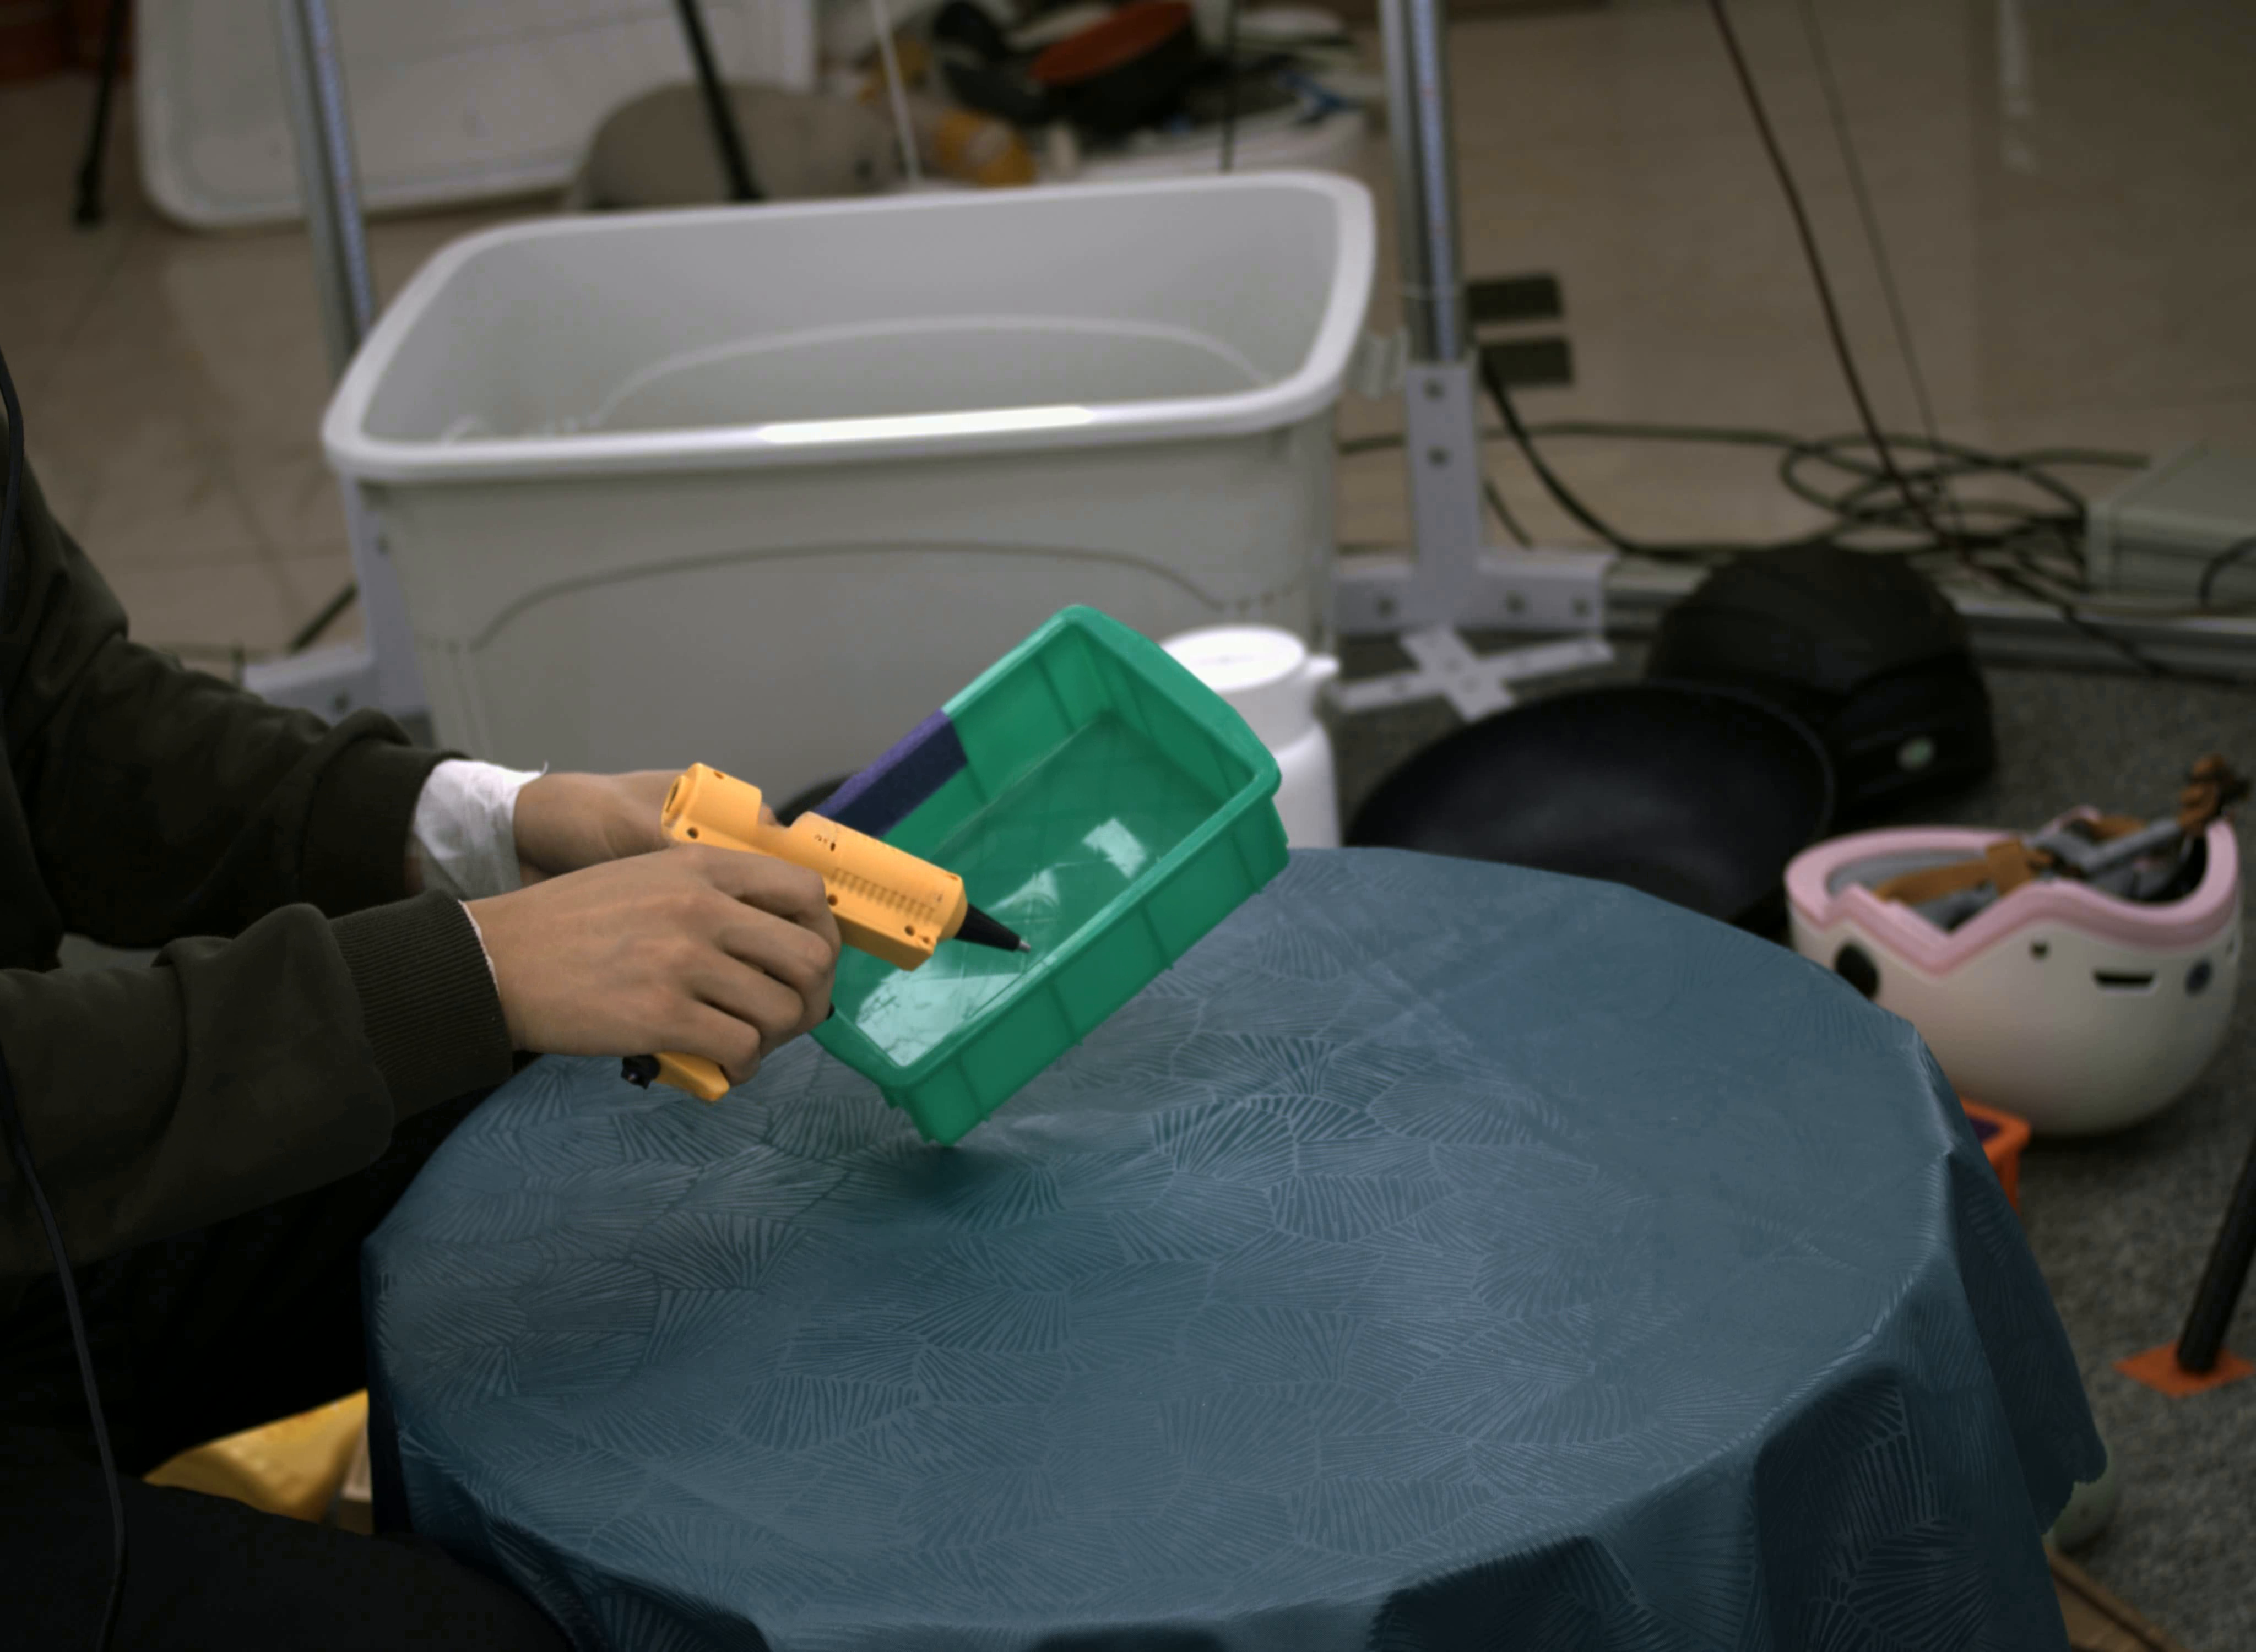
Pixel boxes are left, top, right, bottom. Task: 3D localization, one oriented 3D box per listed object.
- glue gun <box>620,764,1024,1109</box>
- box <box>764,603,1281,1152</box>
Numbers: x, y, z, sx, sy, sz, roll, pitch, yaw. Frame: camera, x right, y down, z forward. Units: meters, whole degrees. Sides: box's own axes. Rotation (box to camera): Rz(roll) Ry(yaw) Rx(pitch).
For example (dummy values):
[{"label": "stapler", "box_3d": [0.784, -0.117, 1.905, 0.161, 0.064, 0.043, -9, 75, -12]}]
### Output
[{"label": "glue gun", "box_3d": [-0.110, 0.057, 2.100, 0.152, 0.031, 0.131, 19, 59, -21]}, {"label": "box", "box_3d": [-0.048, 0.023, 2.222, 0.209, 0.066, 0.137, -43, 52, -11]}]
